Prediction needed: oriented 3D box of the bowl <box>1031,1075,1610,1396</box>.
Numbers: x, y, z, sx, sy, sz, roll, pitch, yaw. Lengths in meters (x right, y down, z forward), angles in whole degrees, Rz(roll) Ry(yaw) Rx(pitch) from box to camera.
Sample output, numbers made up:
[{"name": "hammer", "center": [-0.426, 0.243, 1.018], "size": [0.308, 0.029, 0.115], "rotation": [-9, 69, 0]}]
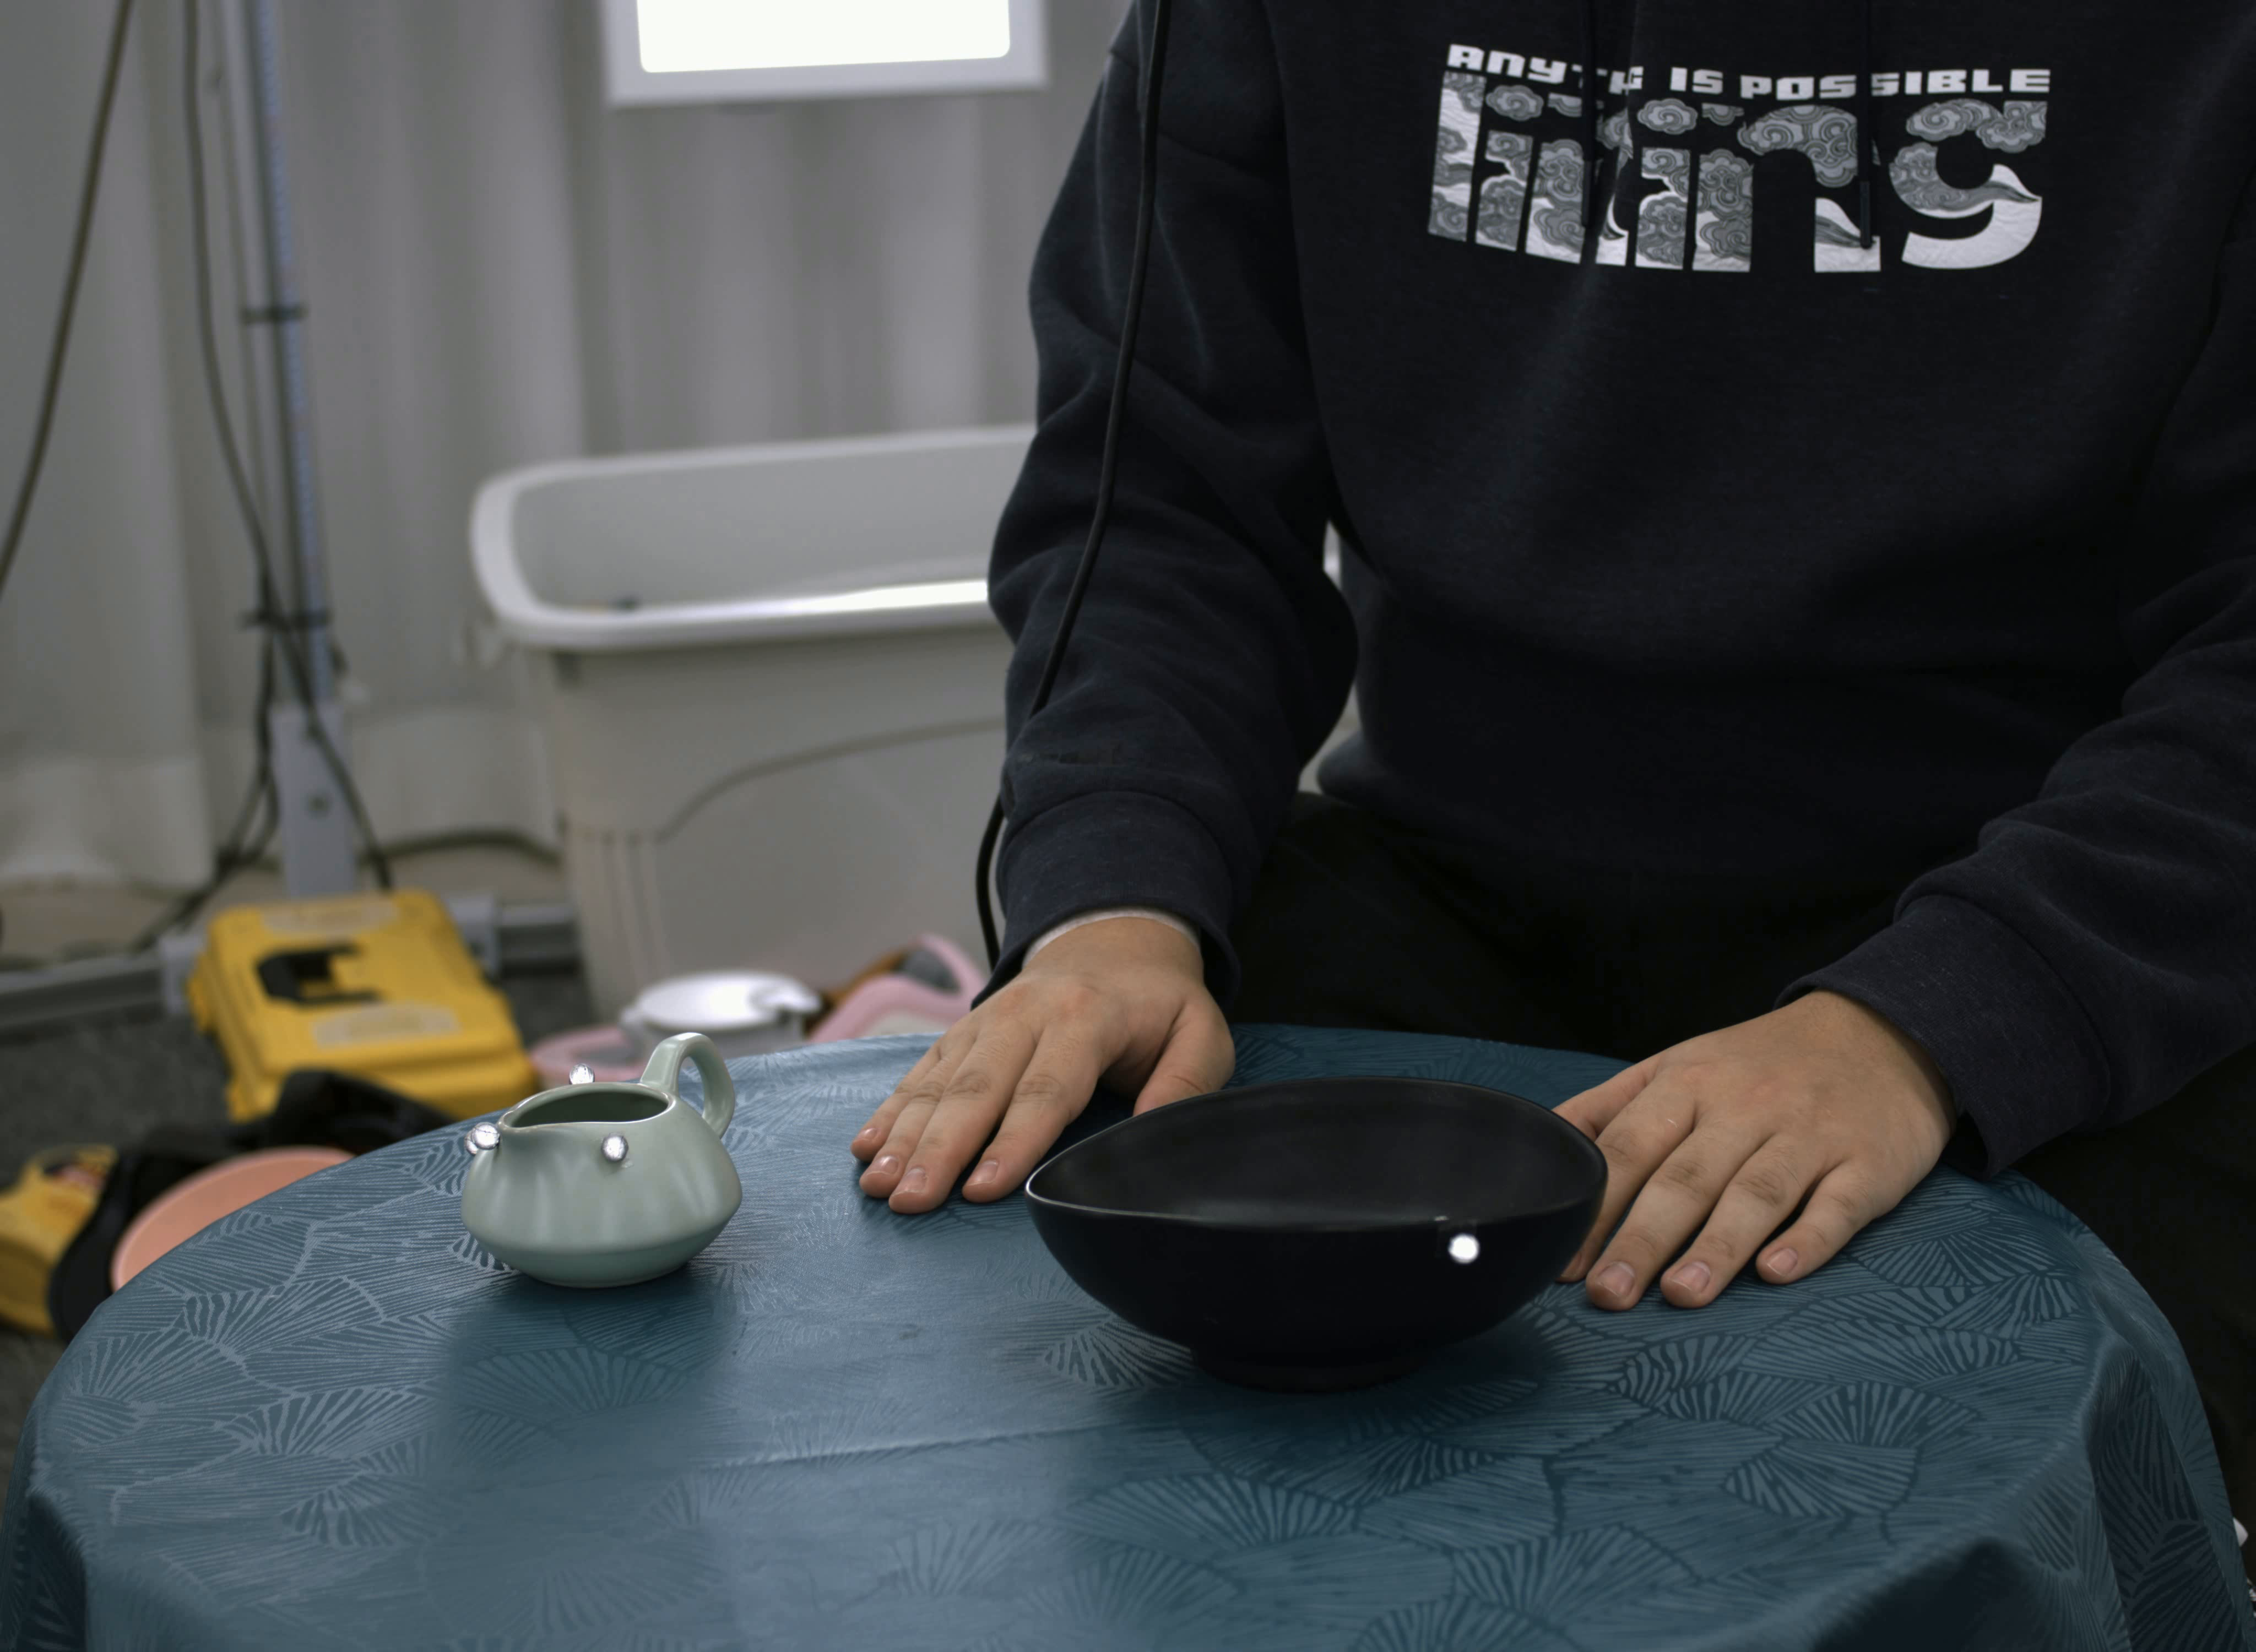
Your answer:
[{"name": "bowl", "center": [0.054, 0.122, 1.560], "size": [0.170, 0.066, 0.138], "rotation": [1, 14, 17]}]

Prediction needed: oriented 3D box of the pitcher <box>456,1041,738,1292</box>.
[{"name": "pitcher", "center": [-0.156, 0.105, 1.676], "size": [0.086, 0.060, 0.108], "rotation": [7, 15, 29]}]
